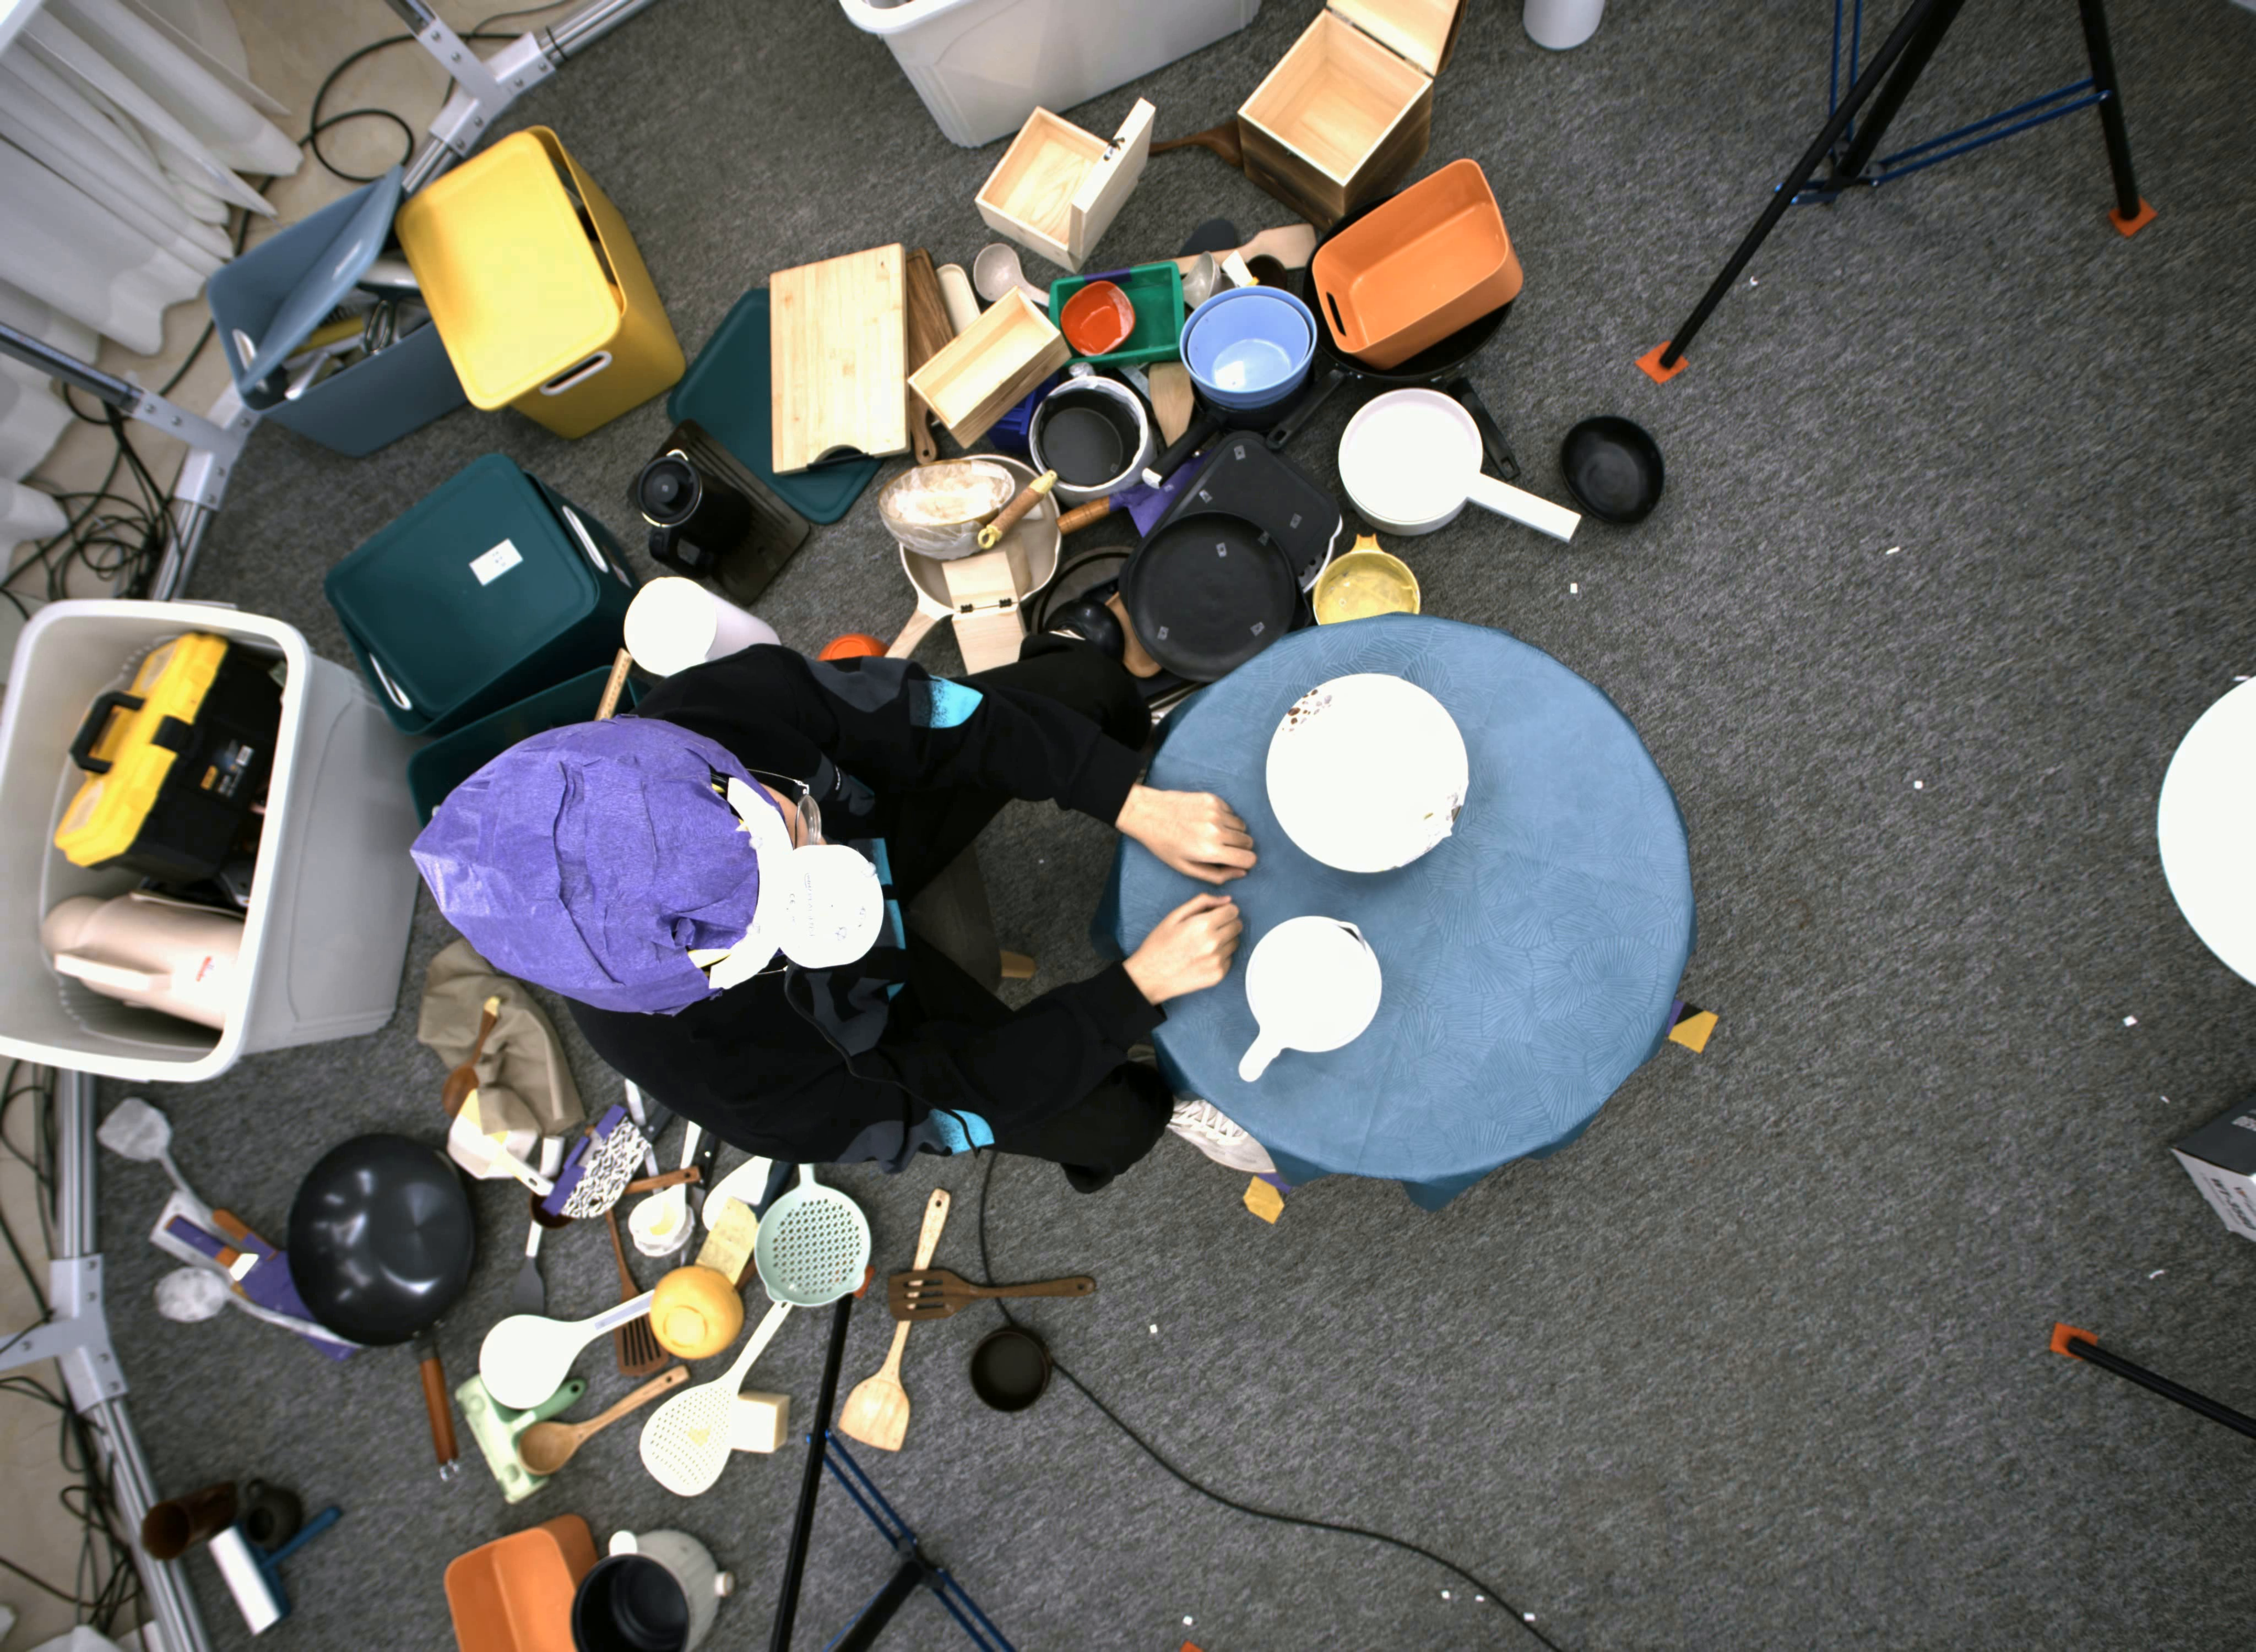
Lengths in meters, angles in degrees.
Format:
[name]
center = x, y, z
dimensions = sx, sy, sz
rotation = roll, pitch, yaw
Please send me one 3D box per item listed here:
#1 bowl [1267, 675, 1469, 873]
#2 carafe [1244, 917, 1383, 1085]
[bowl]
center = 0.250, -0.050, 1.429
dimensions = 0.205, 0.078, 0.203
rotation = -1, 85, 14
[carafe]
center = 0.174, 0.176, 1.382
dimensions = 0.132, 0.182, 0.192
rotation = 35, 95, 12
